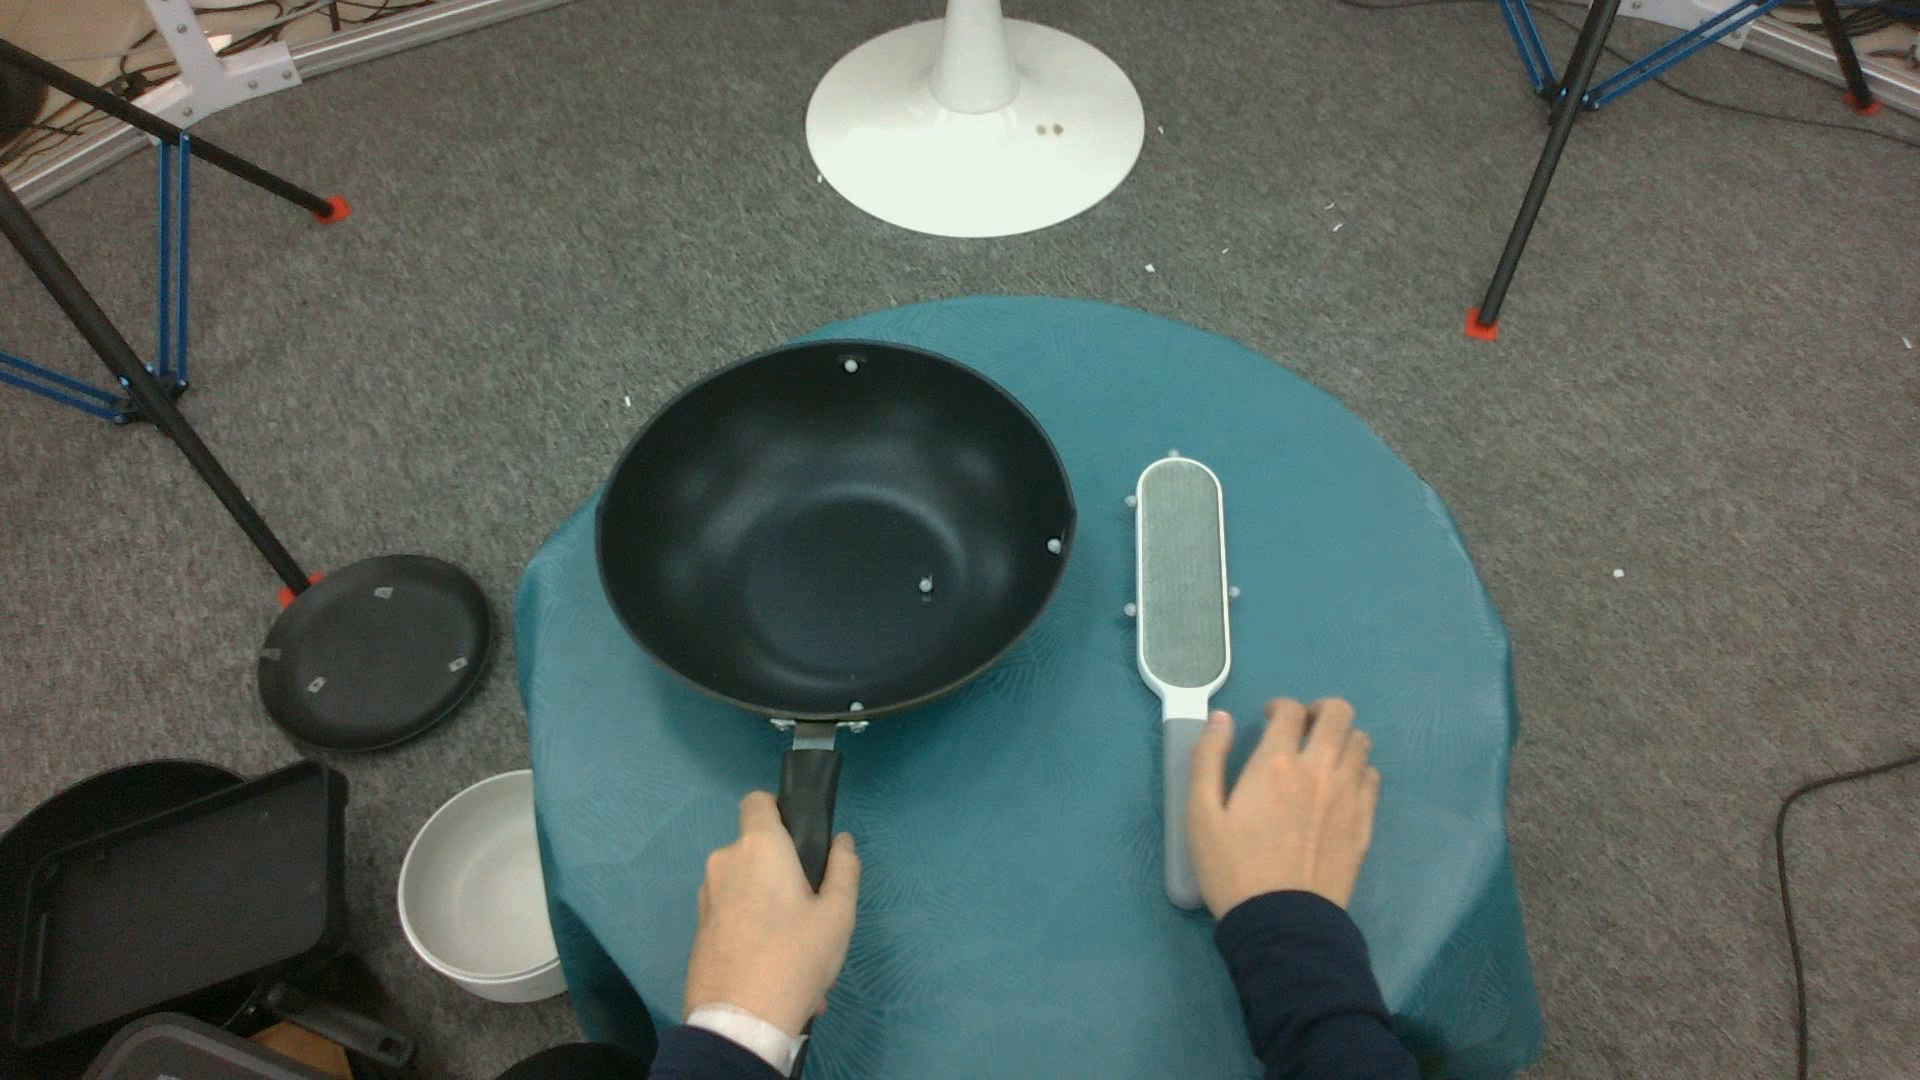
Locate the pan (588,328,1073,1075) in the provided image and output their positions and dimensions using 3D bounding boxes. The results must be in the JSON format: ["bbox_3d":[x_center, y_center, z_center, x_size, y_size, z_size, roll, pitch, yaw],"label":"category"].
[{"bbox_3d":[-0.080,0.074,0.792,0.288,0.086,0.465,1,55,1],"label":"pan"}]

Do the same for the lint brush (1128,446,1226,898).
[{"bbox_3d":[0.131,0.066,0.832,0.060,0.021,0.310,6,55,-2],"label":"lint brush"}]
